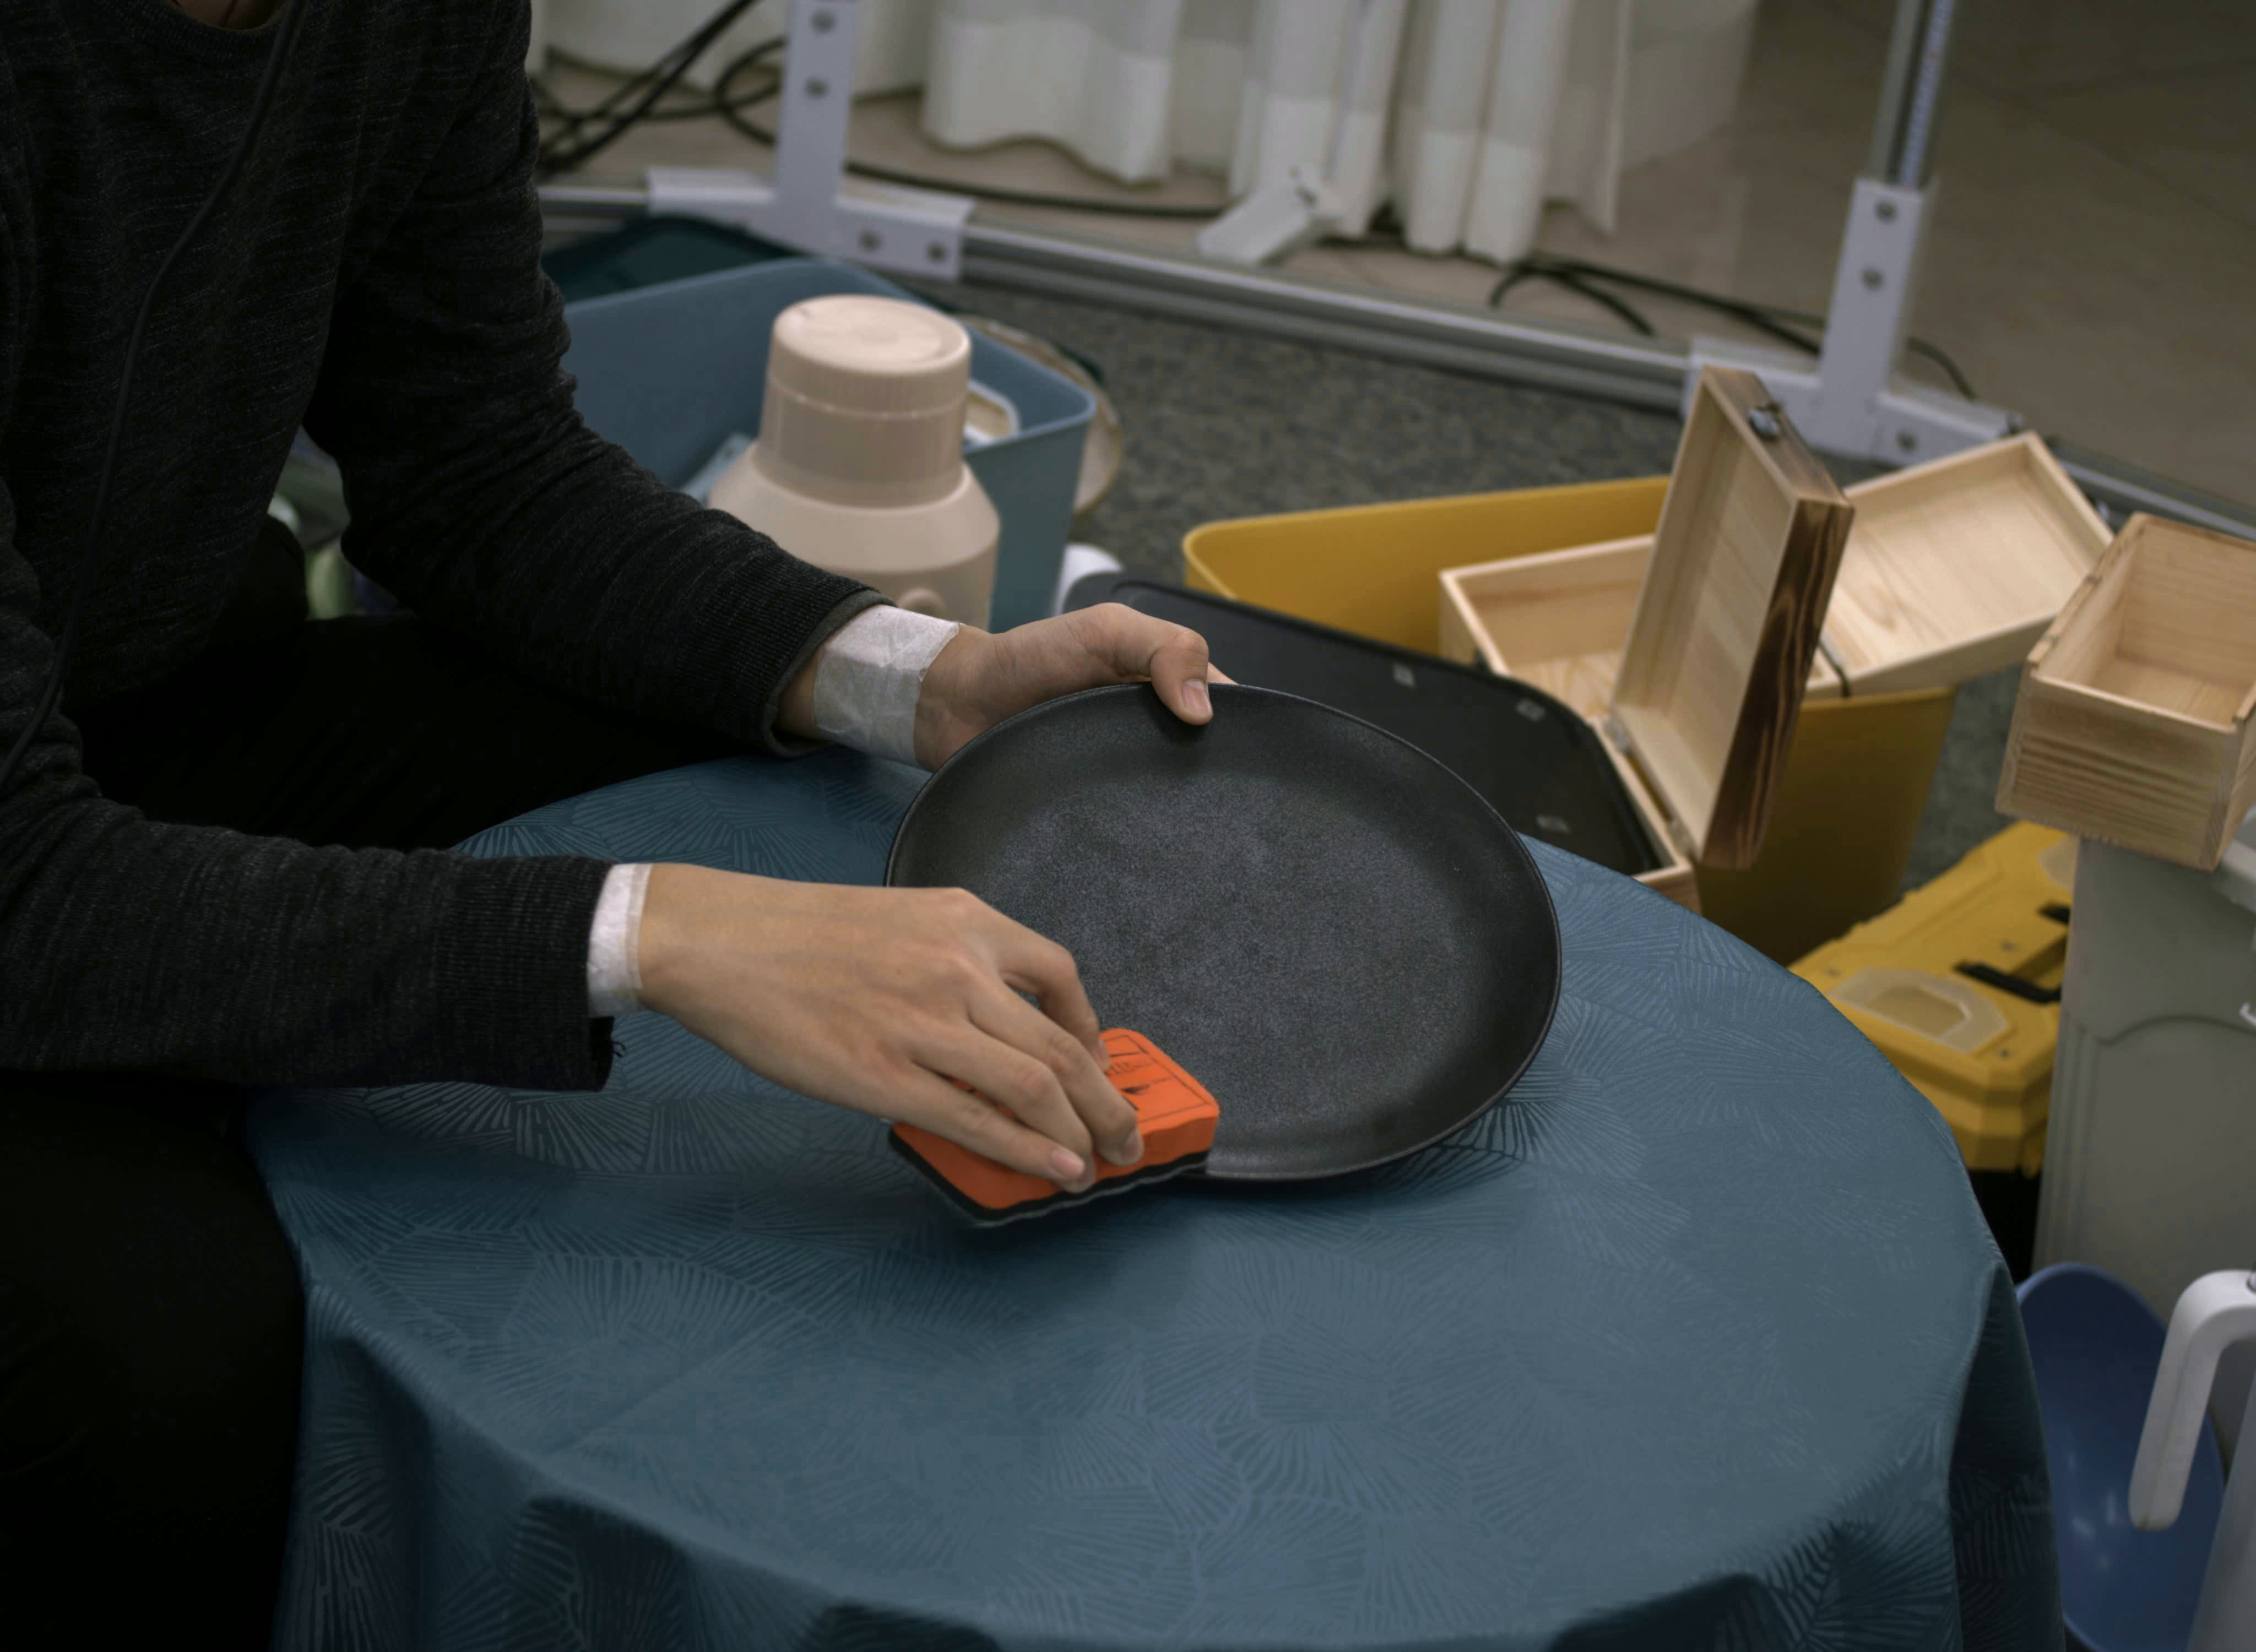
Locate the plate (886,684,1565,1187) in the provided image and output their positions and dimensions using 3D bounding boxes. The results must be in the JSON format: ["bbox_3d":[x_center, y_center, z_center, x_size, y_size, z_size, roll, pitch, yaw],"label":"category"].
[{"bbox_3d":[0.034,0.040,1.890,0.243,0.023,0.246,4,44,-4],"label":"plate"}]

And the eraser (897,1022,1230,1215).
[{"bbox_3d":[-0.021,0.098,1.785,0.107,0.023,0.059,-15,32,-37],"label":"eraser"}]
